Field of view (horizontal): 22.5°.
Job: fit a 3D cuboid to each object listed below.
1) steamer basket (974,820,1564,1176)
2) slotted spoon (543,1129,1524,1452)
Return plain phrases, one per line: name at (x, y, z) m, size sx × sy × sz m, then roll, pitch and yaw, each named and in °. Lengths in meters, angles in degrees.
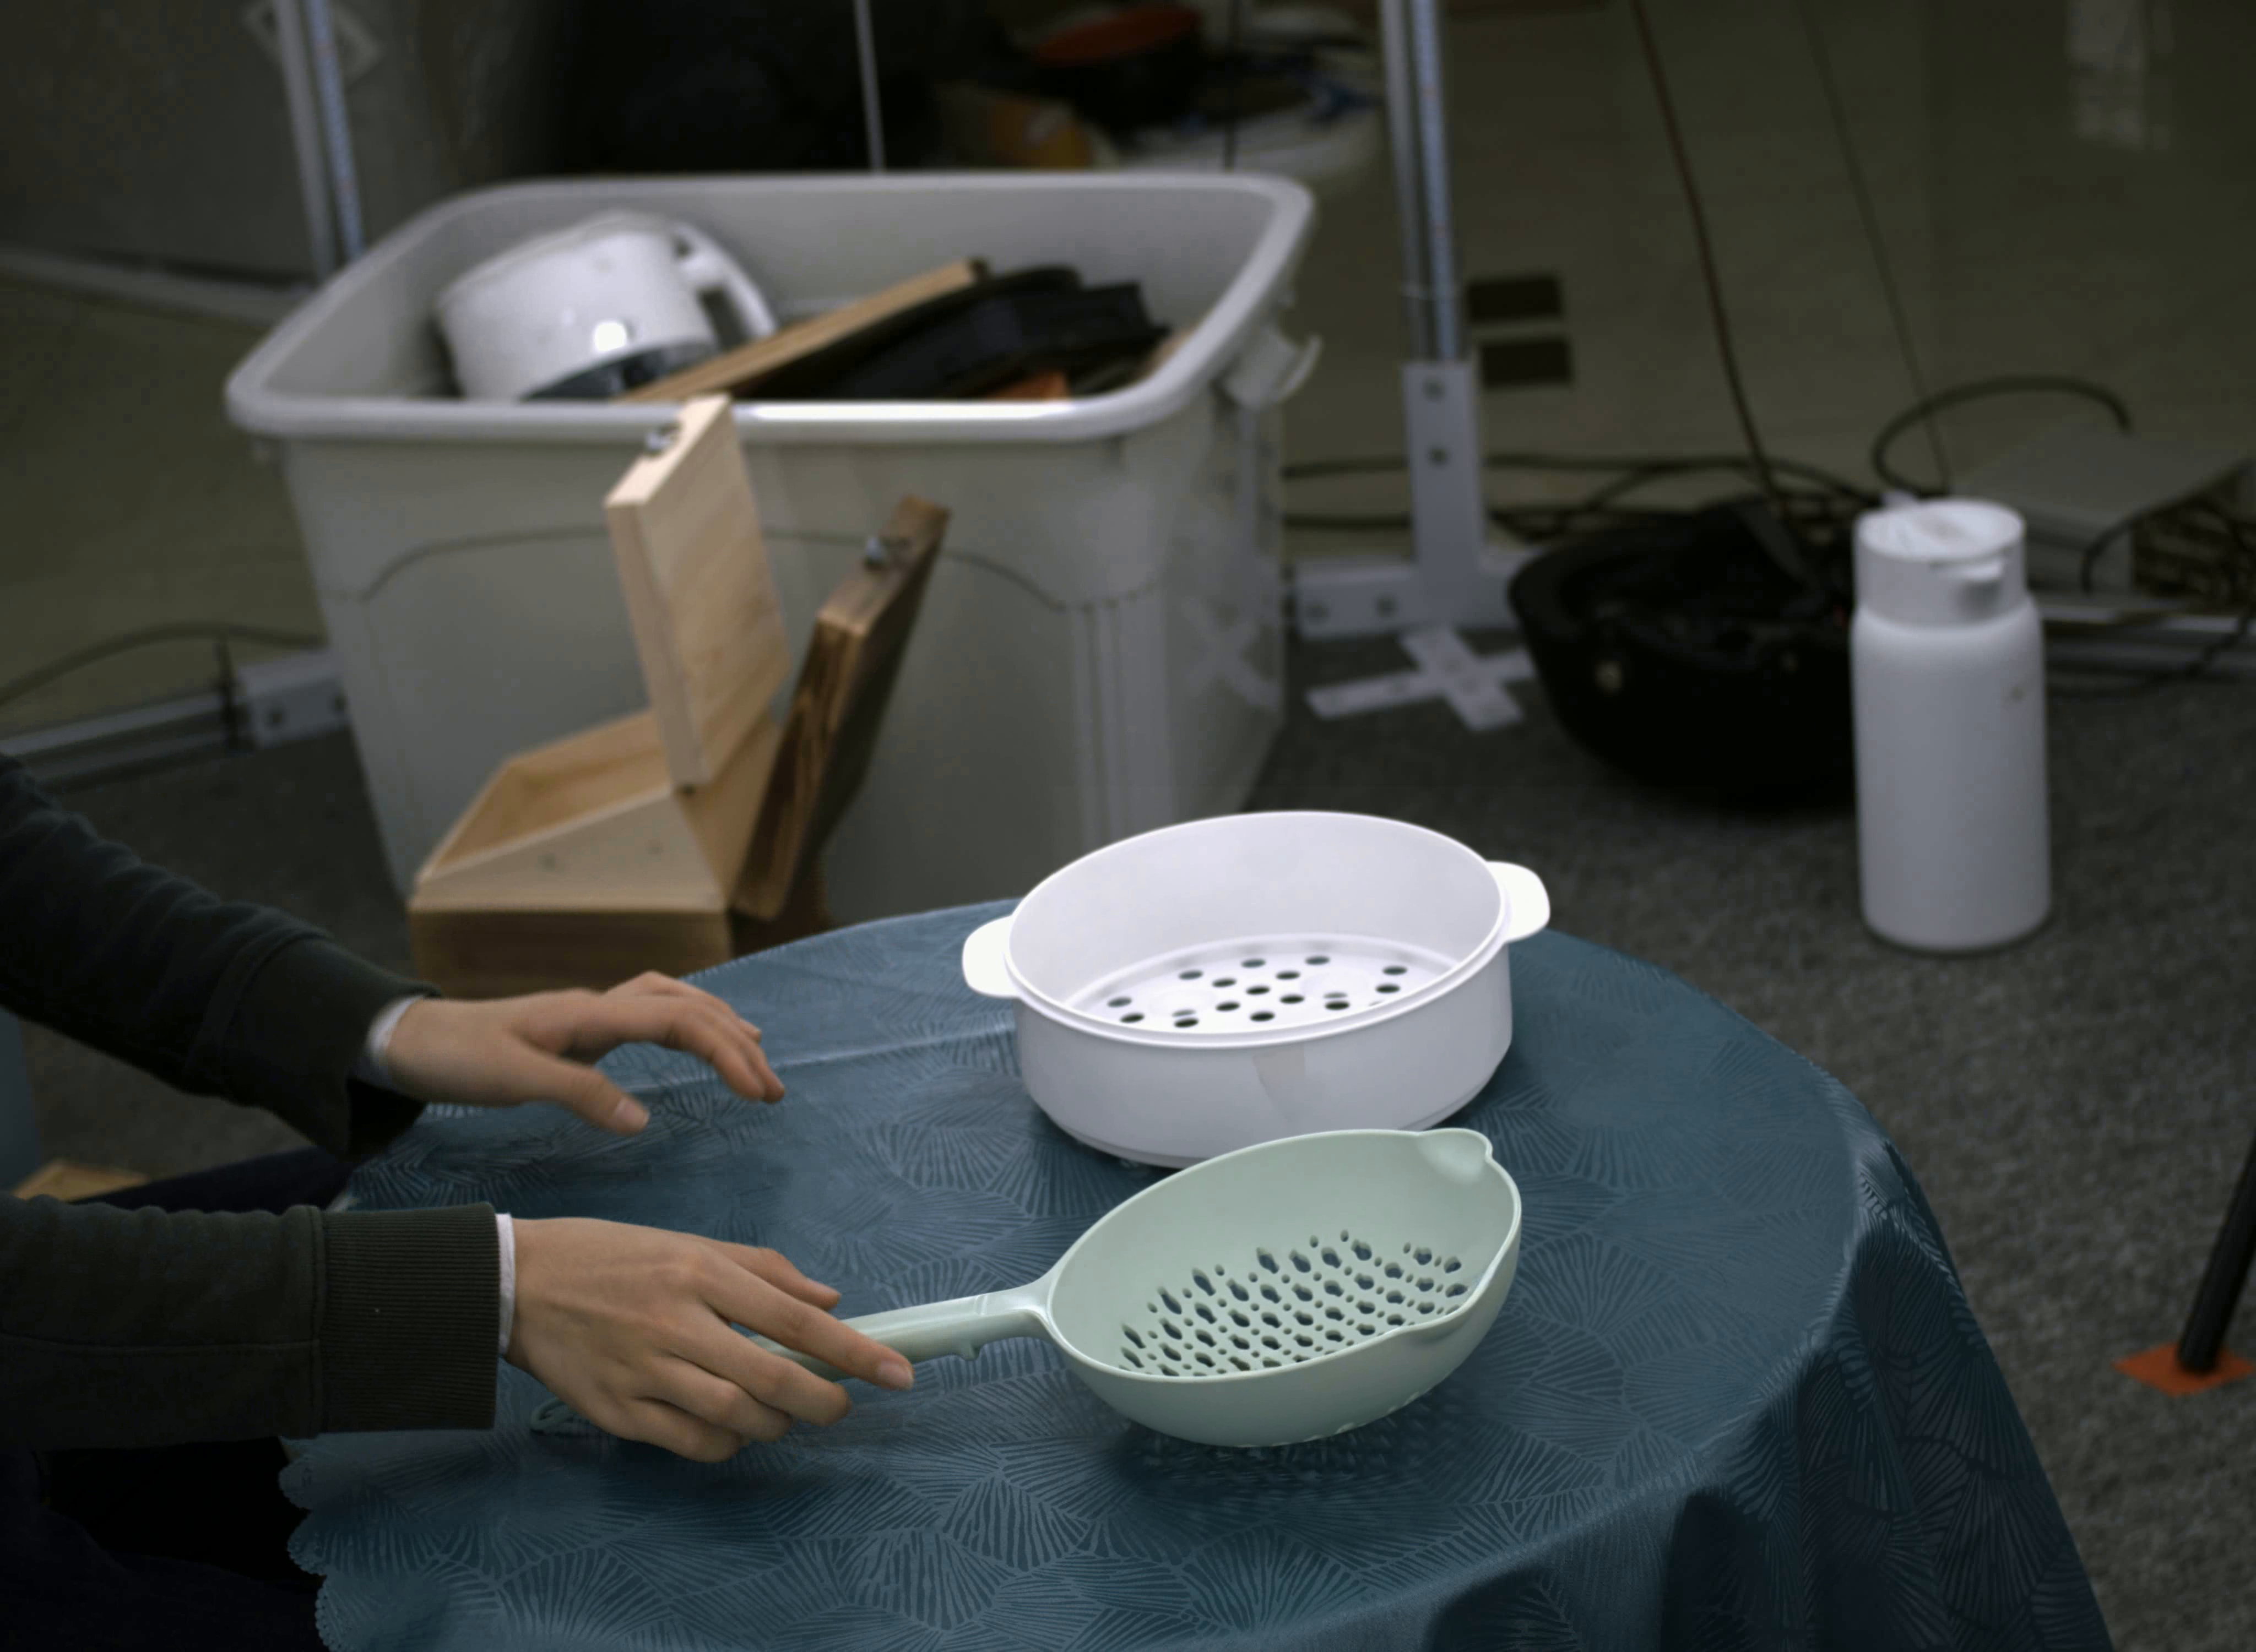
steamer basket at (0.057, 0.067, 2.216) m, size 0.230 × 0.070 × 0.199 m, roll -7°, pitch 24°, yaw -1°
slotted spoon at (-0.037, 0.177, 2.003) m, size 0.358 × 0.076 × 0.167 m, roll -3°, pitch 25°, yaw 8°
